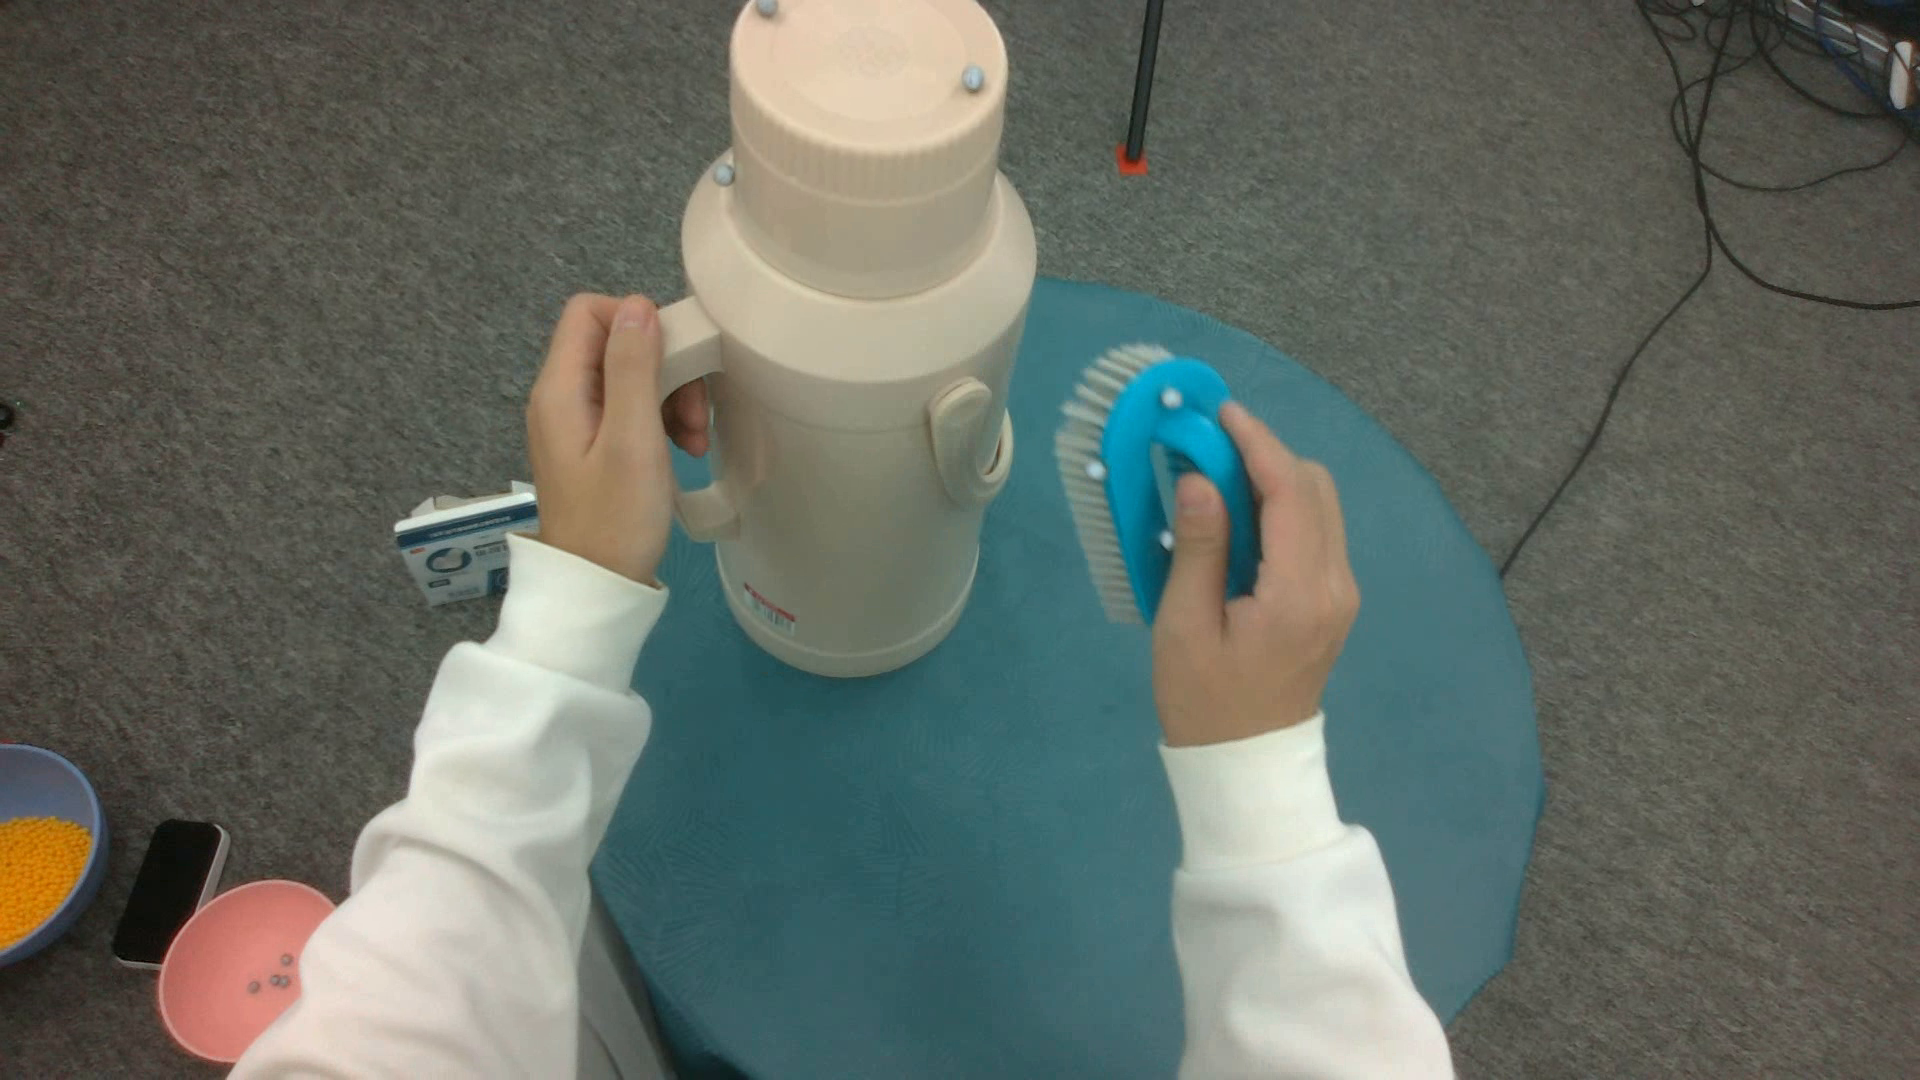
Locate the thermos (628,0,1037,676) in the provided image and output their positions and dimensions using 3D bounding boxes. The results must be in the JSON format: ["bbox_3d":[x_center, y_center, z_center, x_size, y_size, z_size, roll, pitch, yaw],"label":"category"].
[{"bbox_3d":[-0.062,-0.076,0.702,0.207,0.404,0.175,-30,68,-20],"label":"thermos"}]

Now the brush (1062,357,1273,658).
[{"bbox_3d":[0.100,-0.012,0.593,0.085,0.141,0.063,-38,35,-29],"label":"brush"}]
